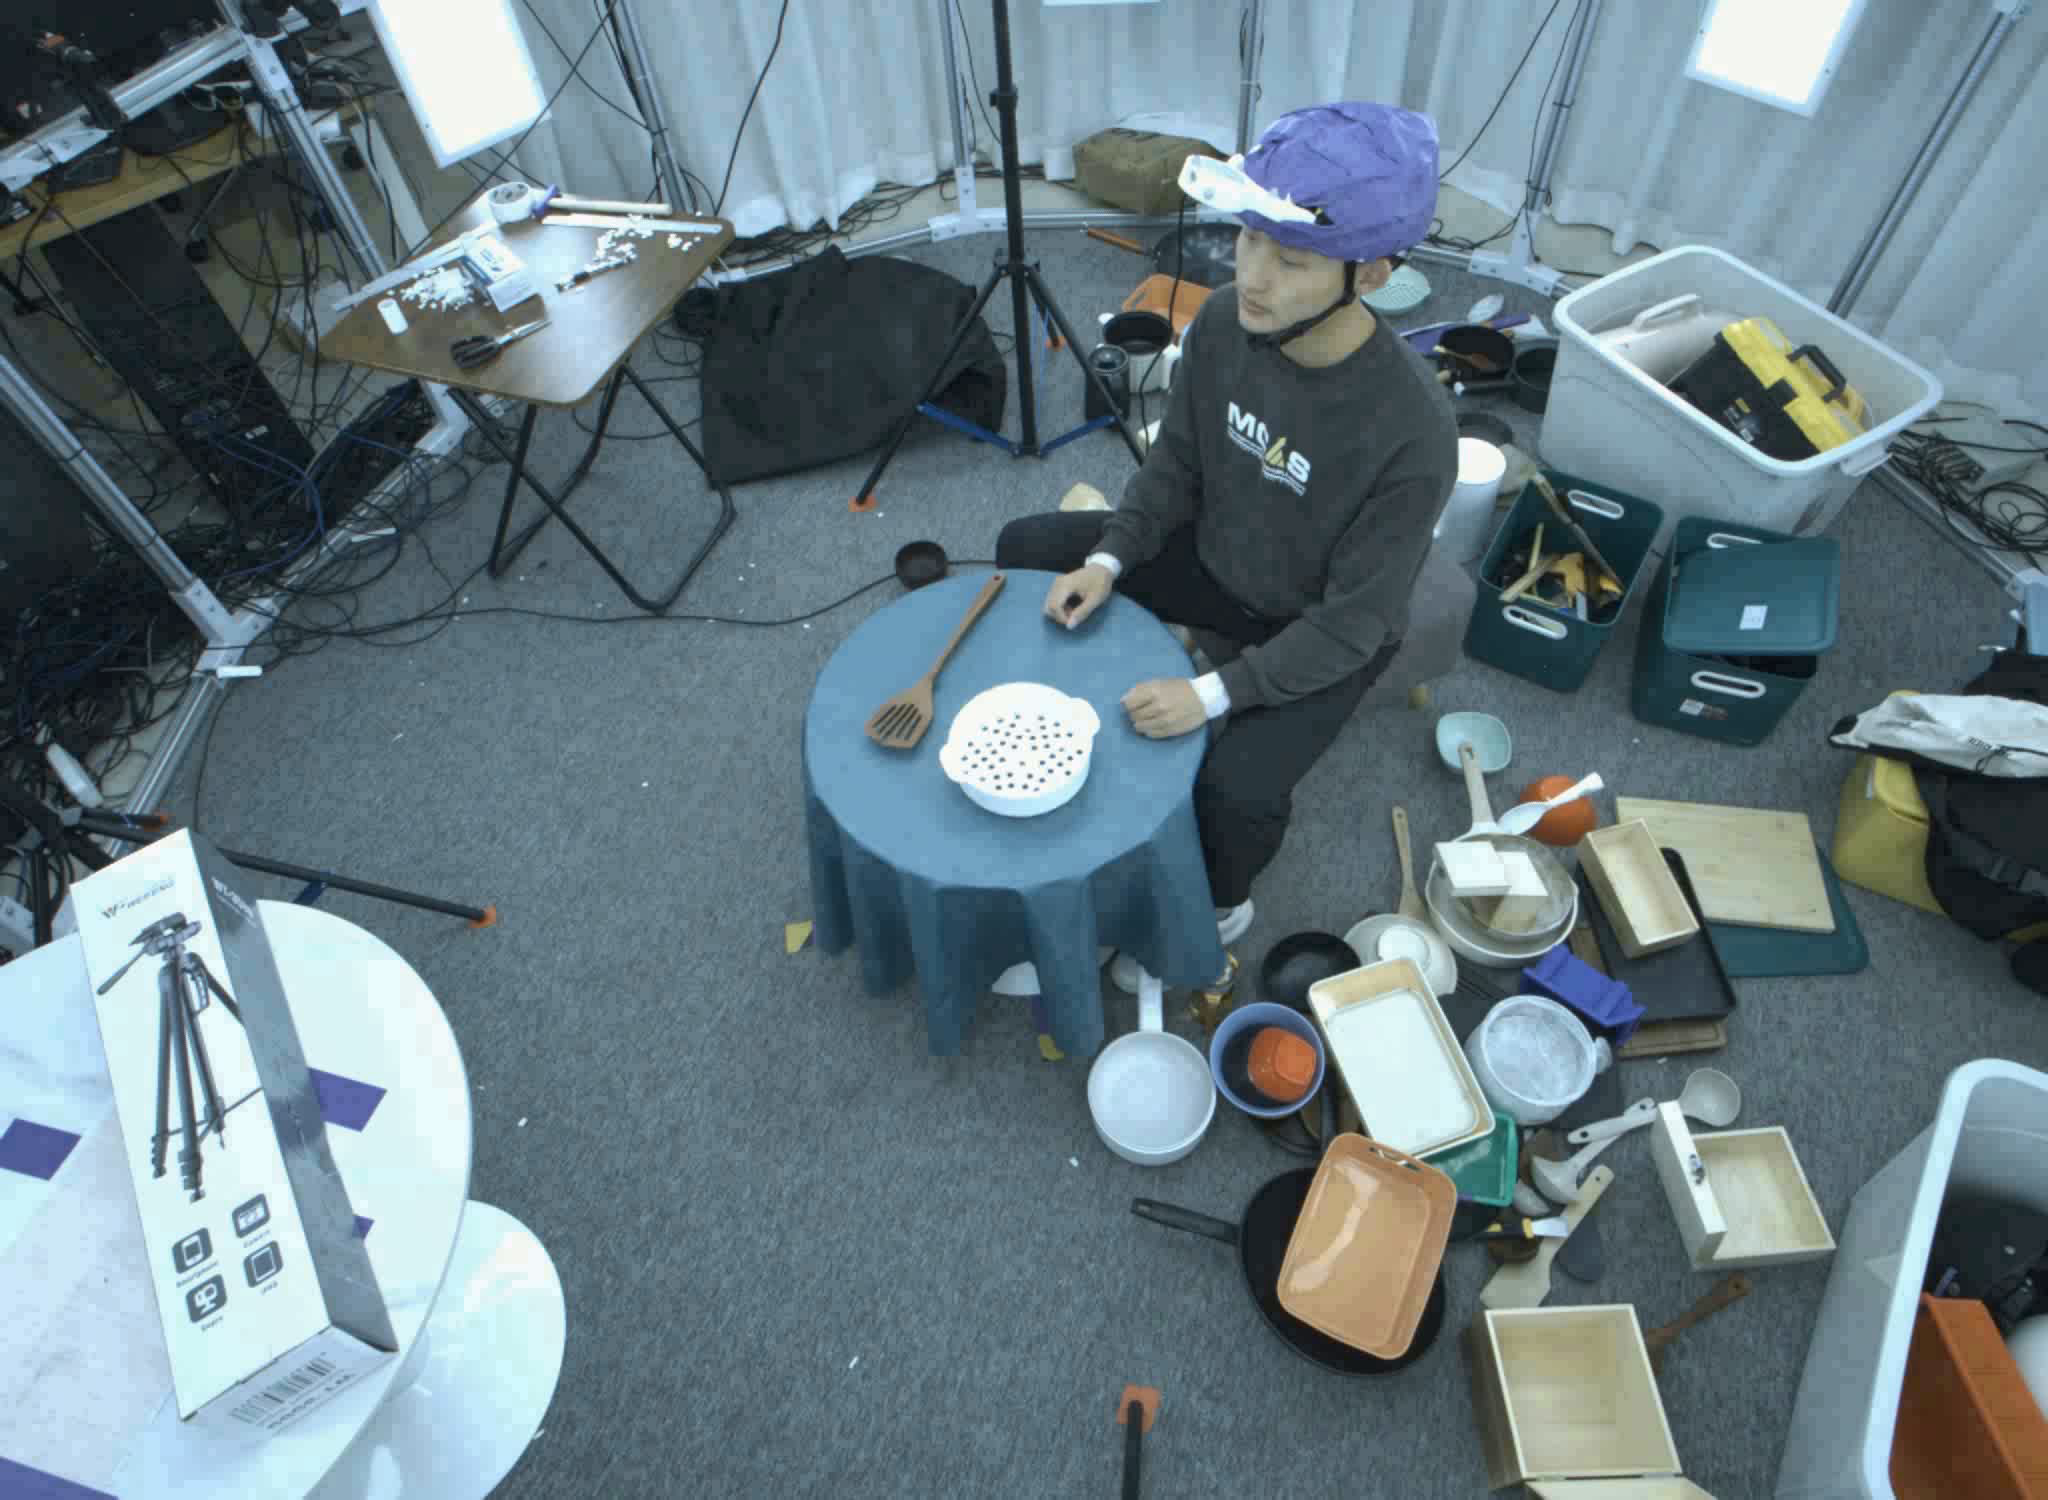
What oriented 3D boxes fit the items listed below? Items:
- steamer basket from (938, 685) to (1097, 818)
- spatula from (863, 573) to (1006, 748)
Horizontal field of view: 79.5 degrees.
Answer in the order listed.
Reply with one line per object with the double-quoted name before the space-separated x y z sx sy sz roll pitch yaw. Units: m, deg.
"steamer basket" -0.009 0.004 1.754 0.232 0.070 0.198 -18 58 -15
"spatula" -0.121 -0.146 1.890 0.085 0.024 0.385 22 57 13
